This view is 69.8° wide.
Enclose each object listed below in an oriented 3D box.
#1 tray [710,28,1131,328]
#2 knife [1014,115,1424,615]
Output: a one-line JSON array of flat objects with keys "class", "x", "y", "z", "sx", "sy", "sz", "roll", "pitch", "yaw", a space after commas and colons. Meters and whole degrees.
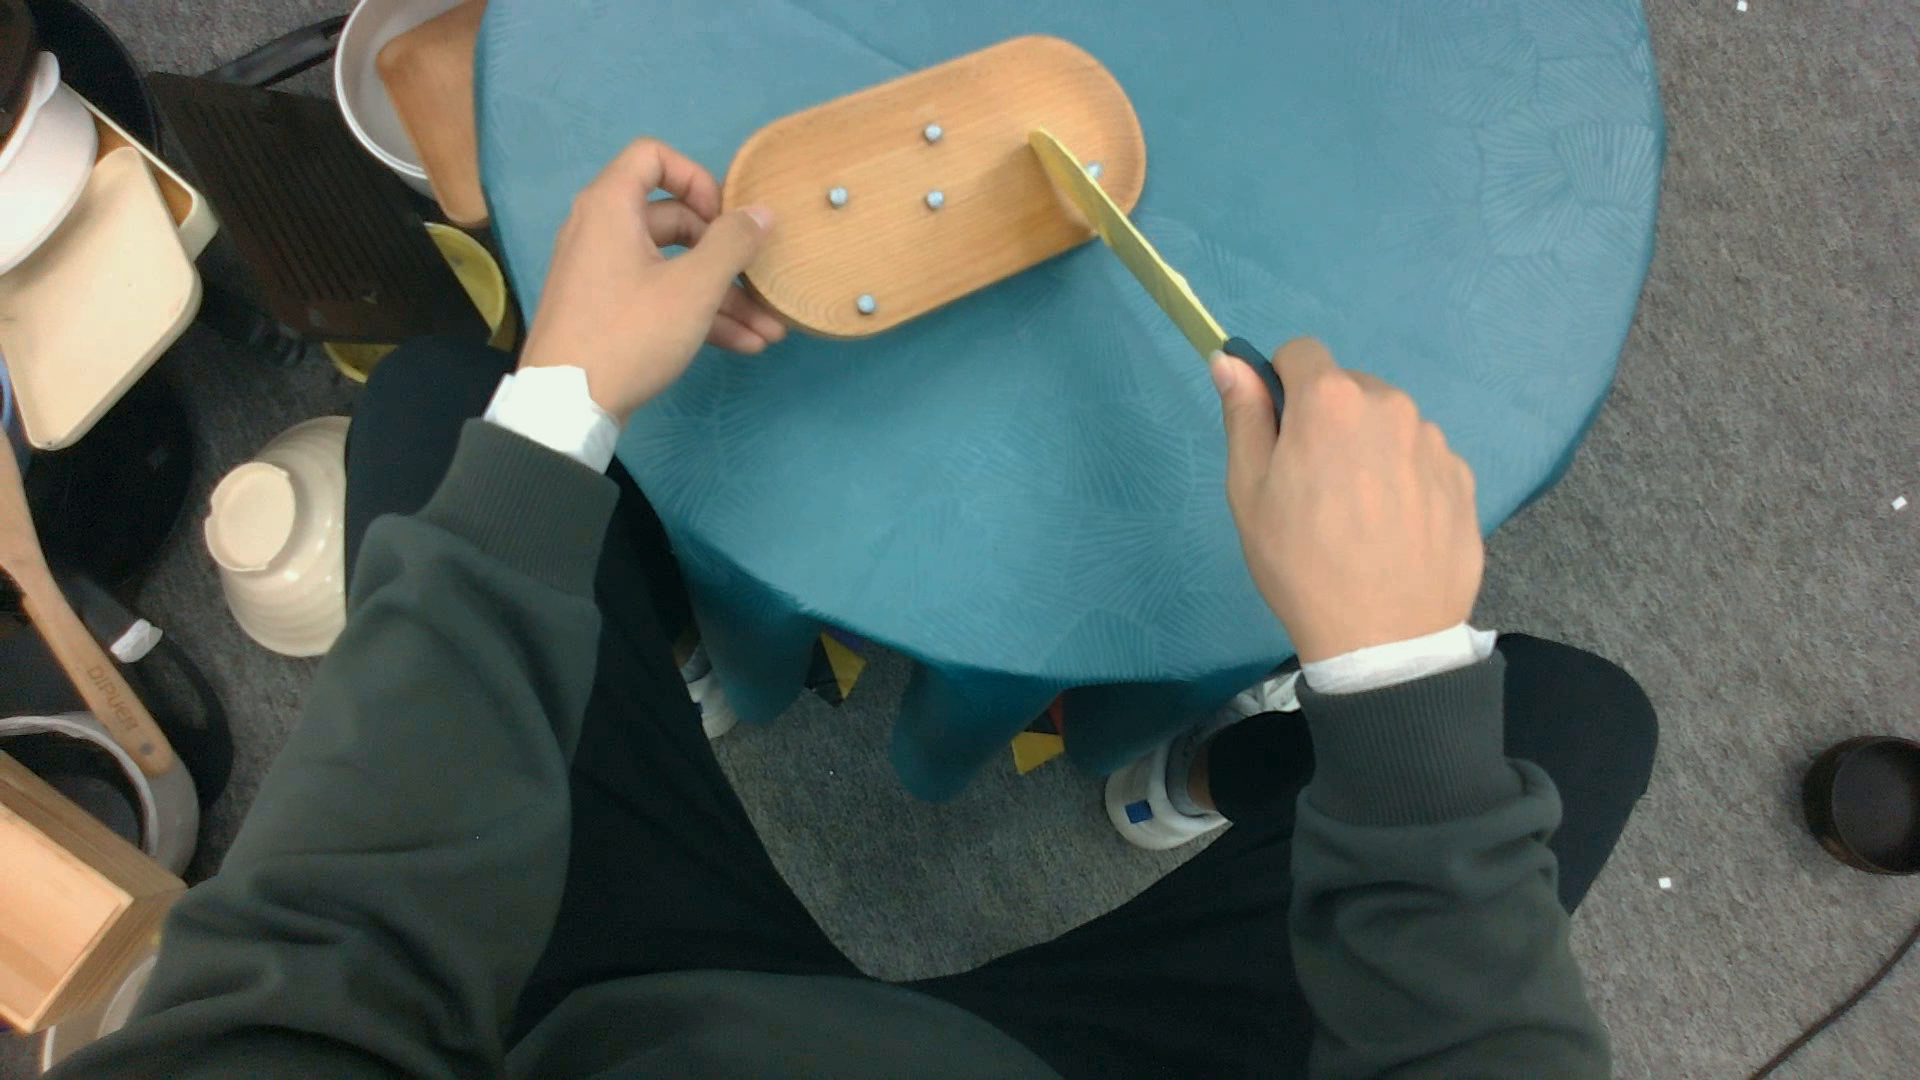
[{"class": "tray", "x": -0.012, "y": -0.170, "z": 0.639, "sx": 0.232, "sy": 0.020, "sz": 0.101, "roll": -30, "pitch": 95, "yaw": -31}, {"class": "knife", "x": 0.102, "y": -0.084, "z": 0.595, "sx": 0.027, "sy": 0.081, "sz": 0.290, "roll": -36, "pitch": 70, "yaw": 6}]
